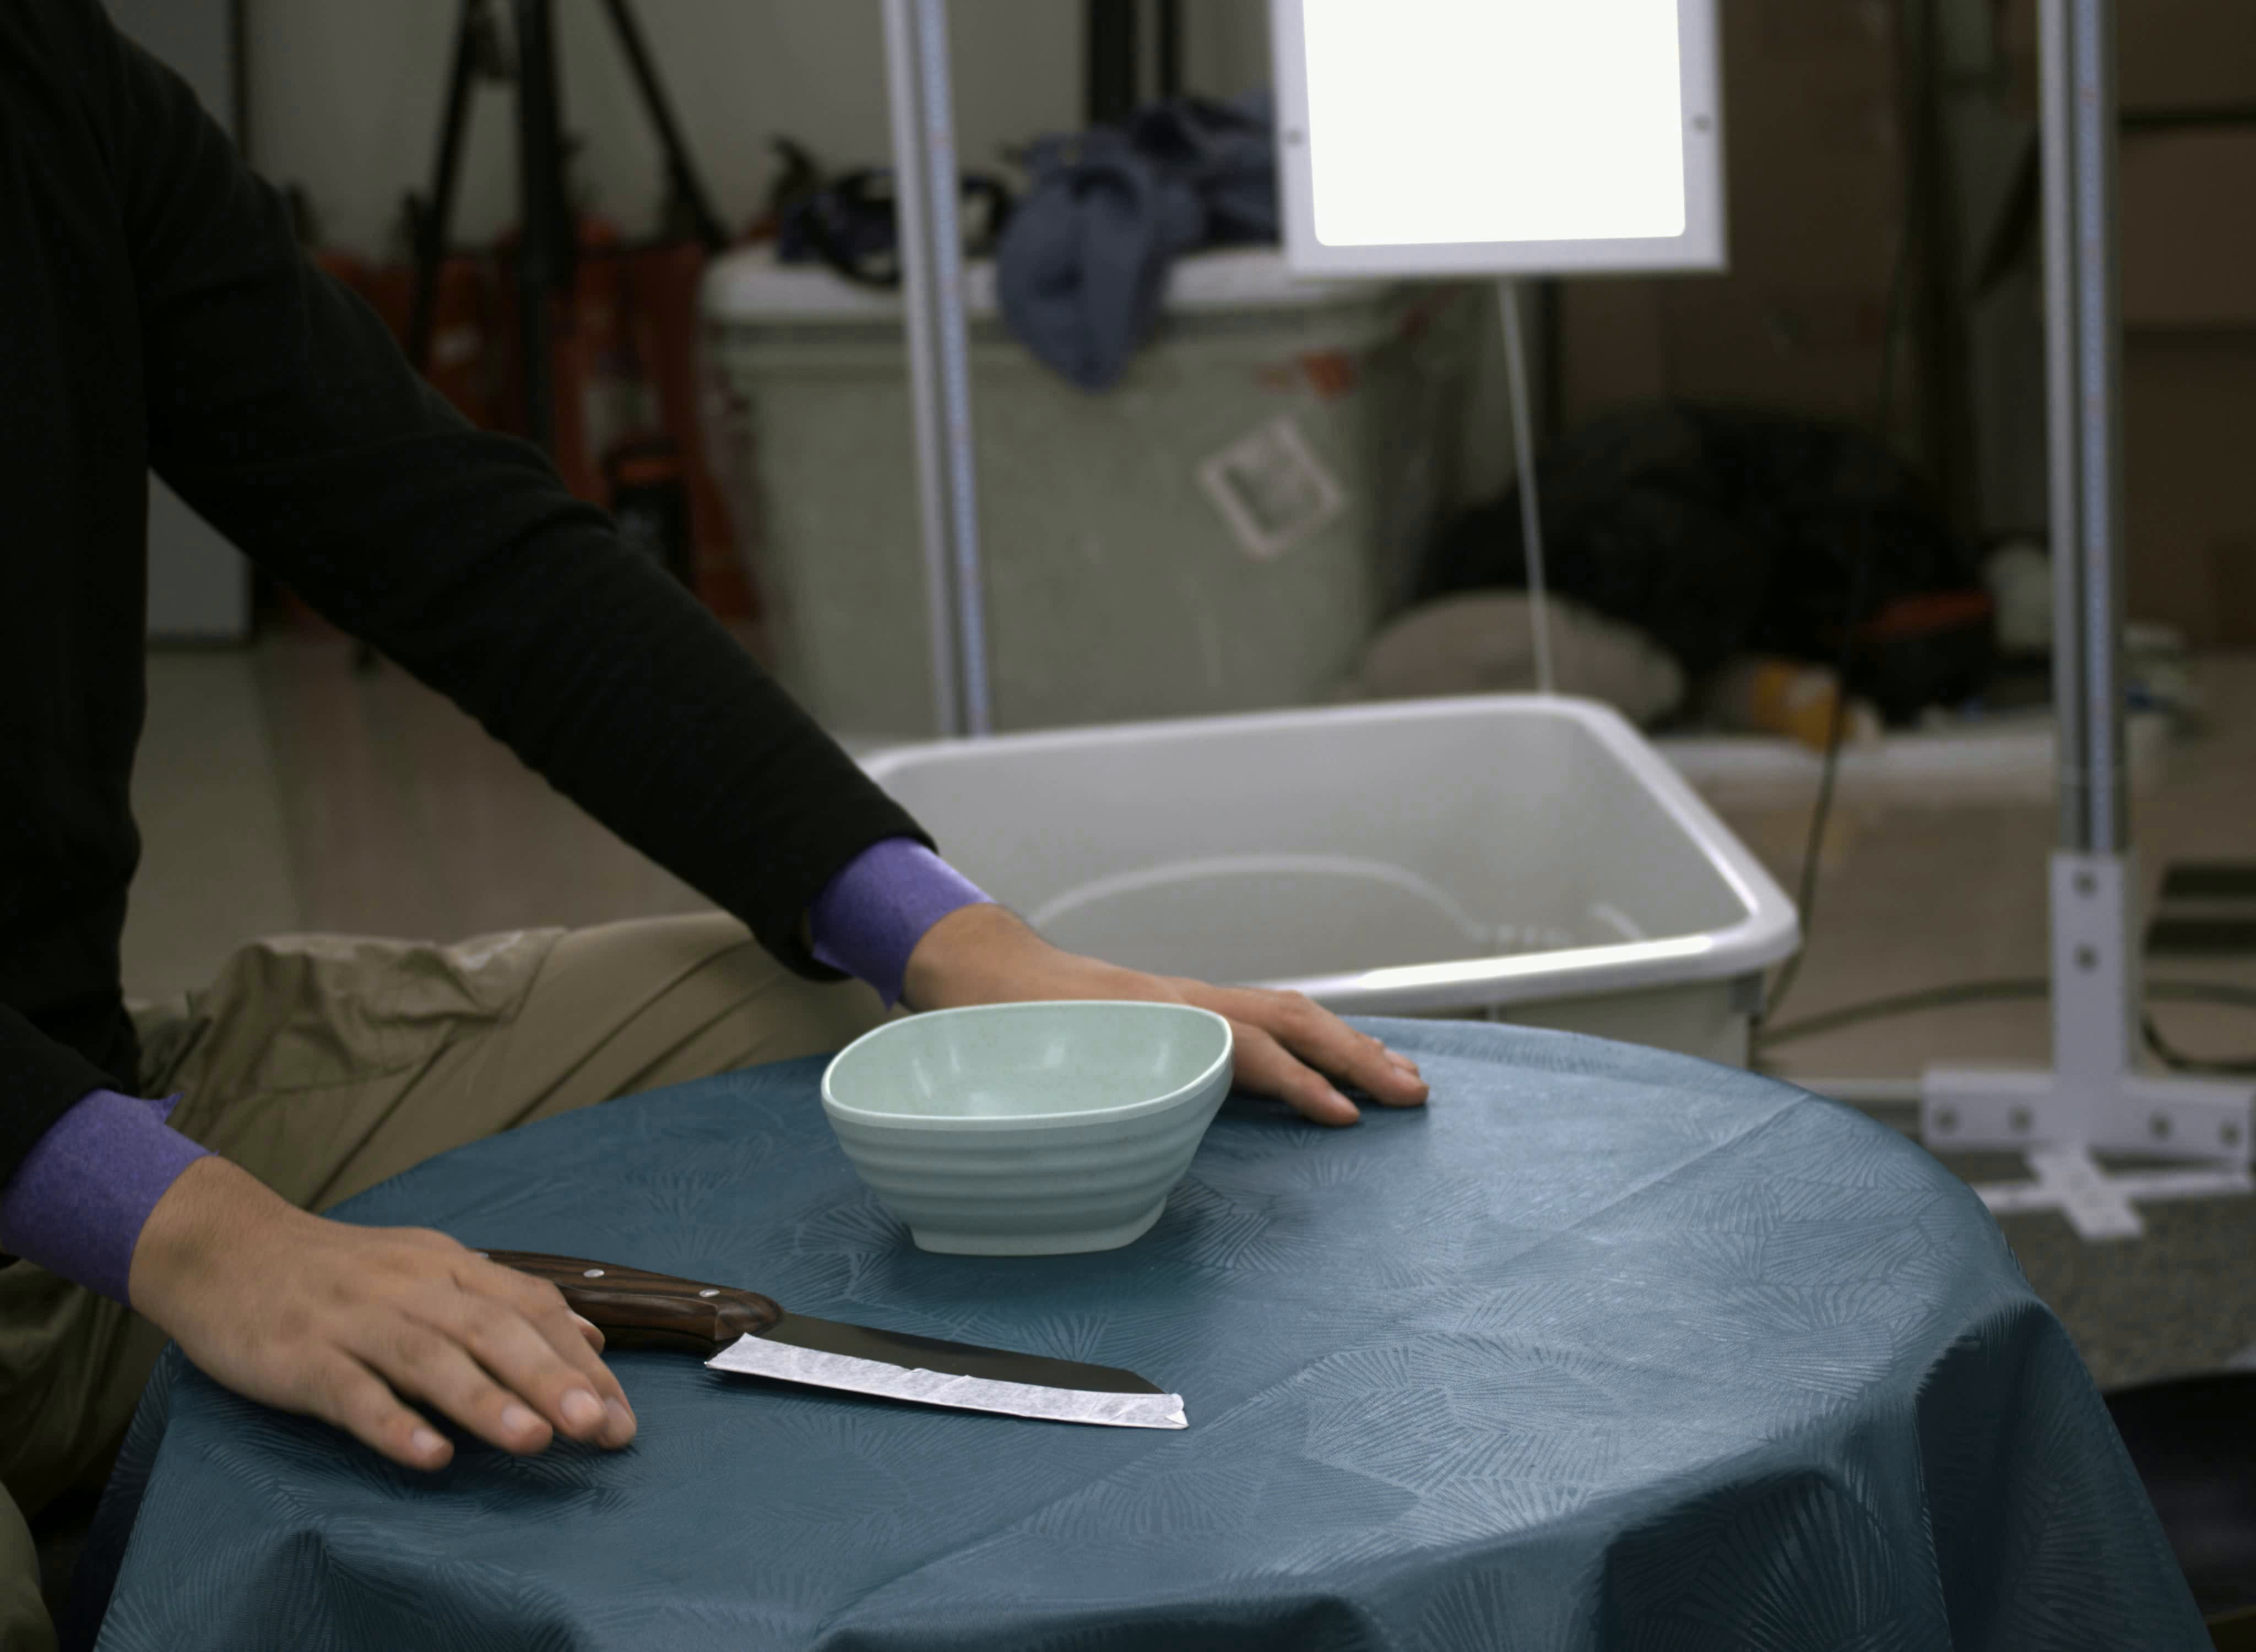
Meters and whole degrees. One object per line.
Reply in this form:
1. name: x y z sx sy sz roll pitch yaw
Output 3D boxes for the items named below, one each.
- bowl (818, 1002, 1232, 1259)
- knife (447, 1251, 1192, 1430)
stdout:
1. bowl: -0.033 0.107 1.875 0.151 0.059 0.151 -3 14 -1
2. knife: -0.102 0.165 1.749 0.295 0.020 0.049 7 23 33
